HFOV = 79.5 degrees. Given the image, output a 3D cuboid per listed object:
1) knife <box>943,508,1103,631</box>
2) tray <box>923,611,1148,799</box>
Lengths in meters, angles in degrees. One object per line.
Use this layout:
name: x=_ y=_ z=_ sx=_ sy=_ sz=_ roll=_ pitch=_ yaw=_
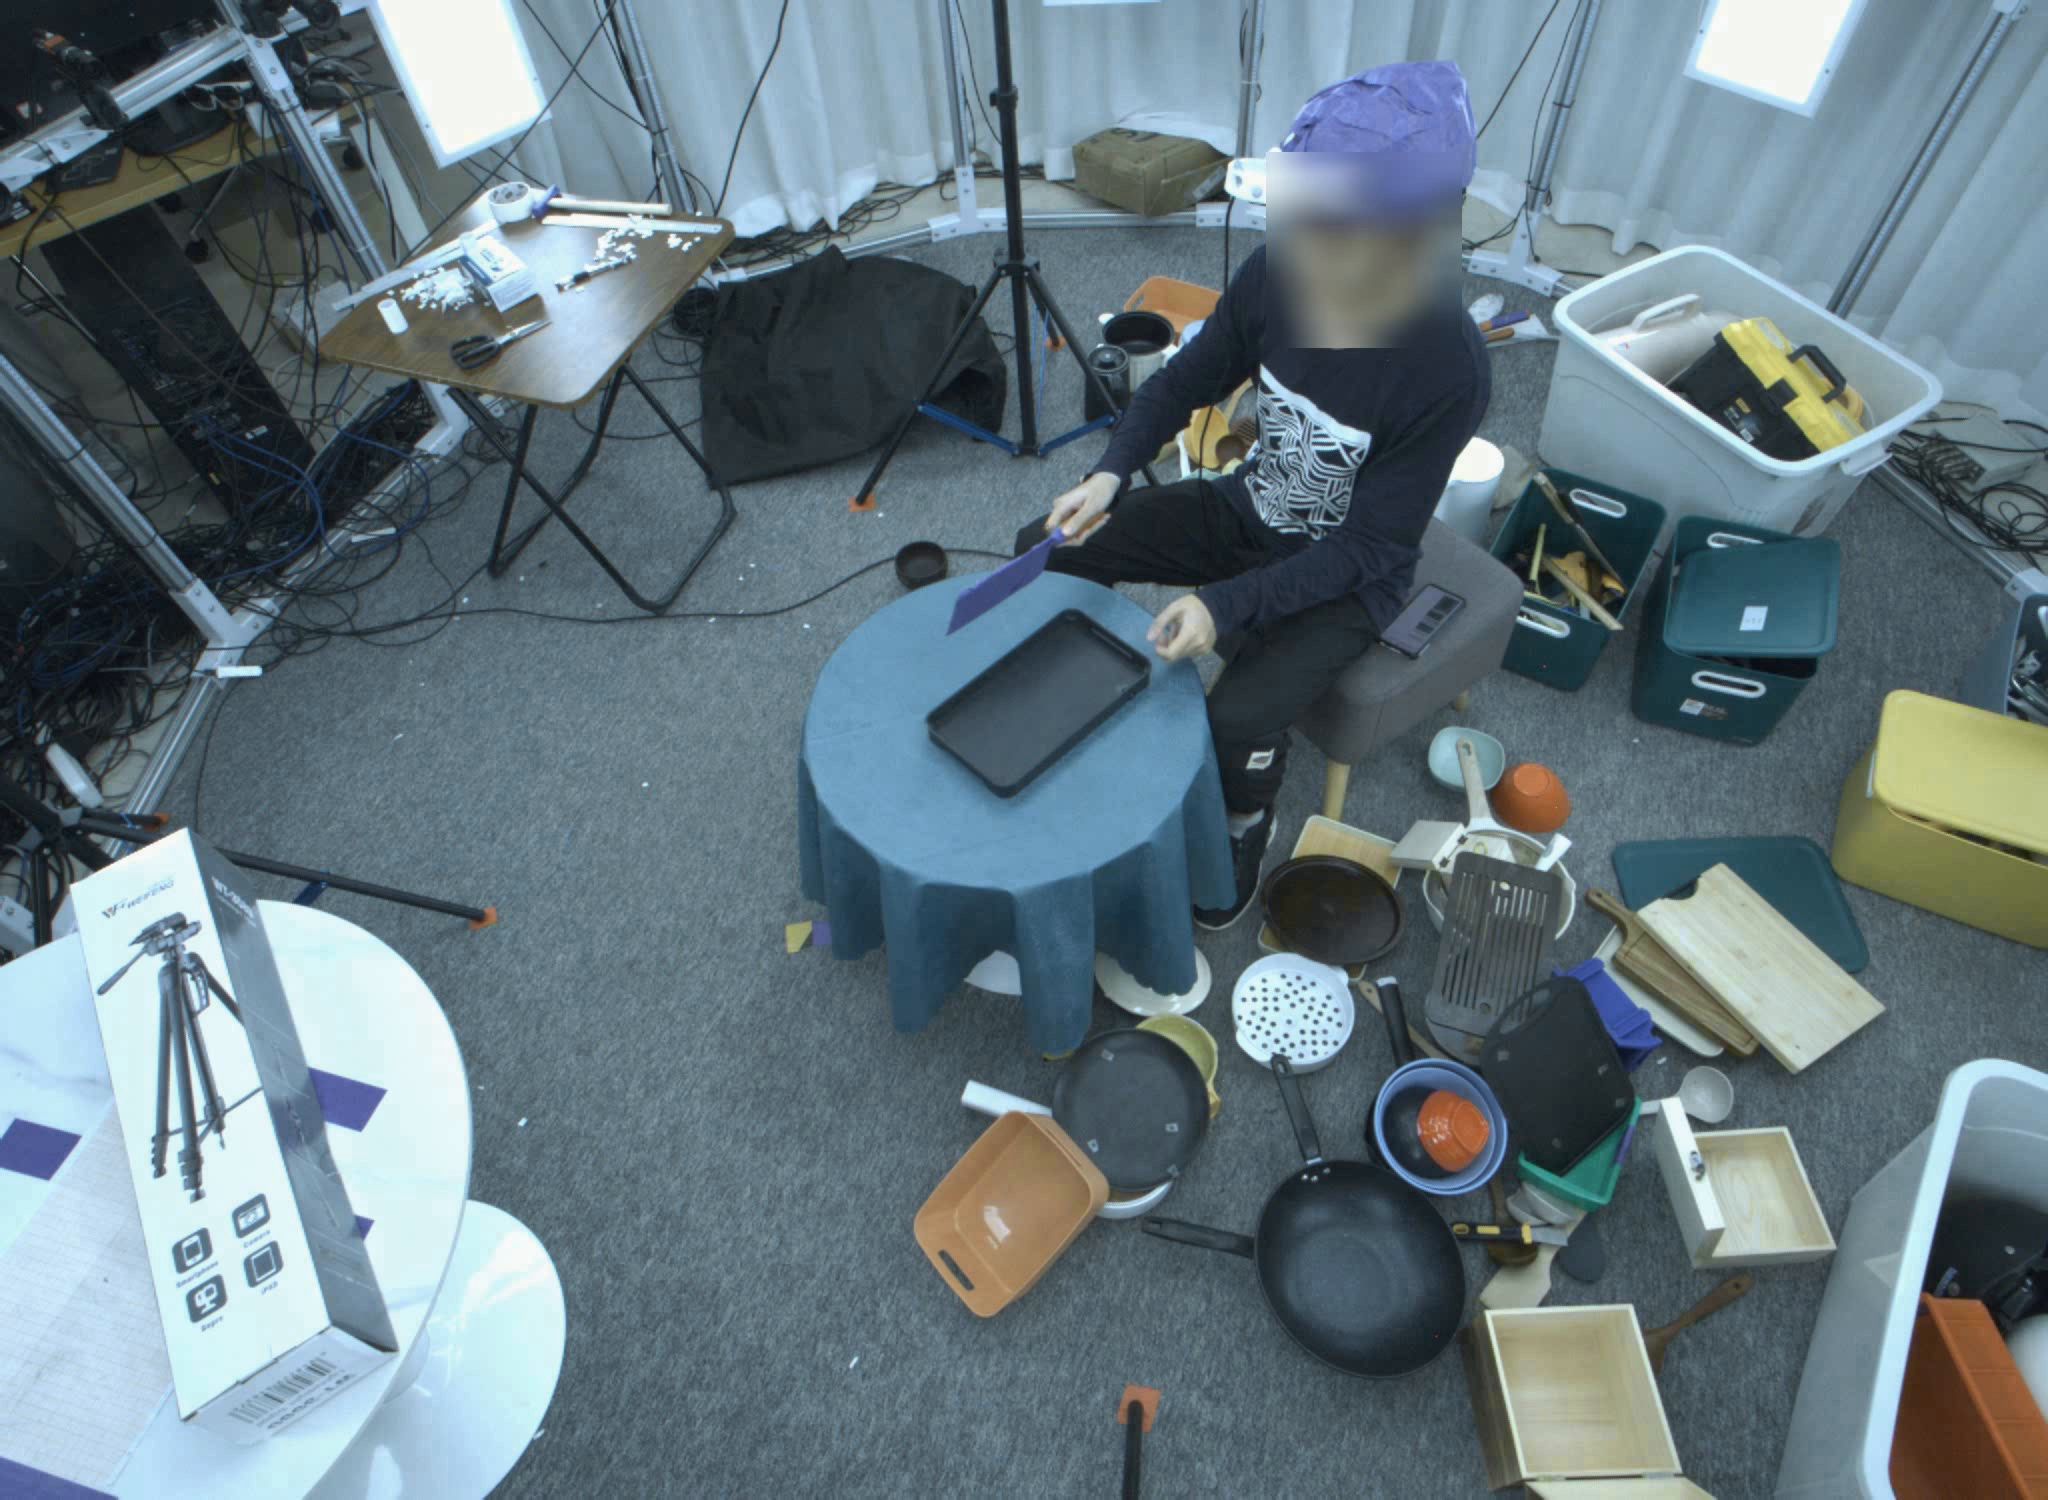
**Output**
knife: x=-0.005 y=-0.271 z=1.828 sx=0.318 sy=0.104 sz=0.032 roll=-34 pitch=72 yaw=-33
tray: x=0.019 y=-0.072 z=1.826 sx=0.181 sy=0.037 sz=0.320 roll=37 pitch=62 yaw=25
